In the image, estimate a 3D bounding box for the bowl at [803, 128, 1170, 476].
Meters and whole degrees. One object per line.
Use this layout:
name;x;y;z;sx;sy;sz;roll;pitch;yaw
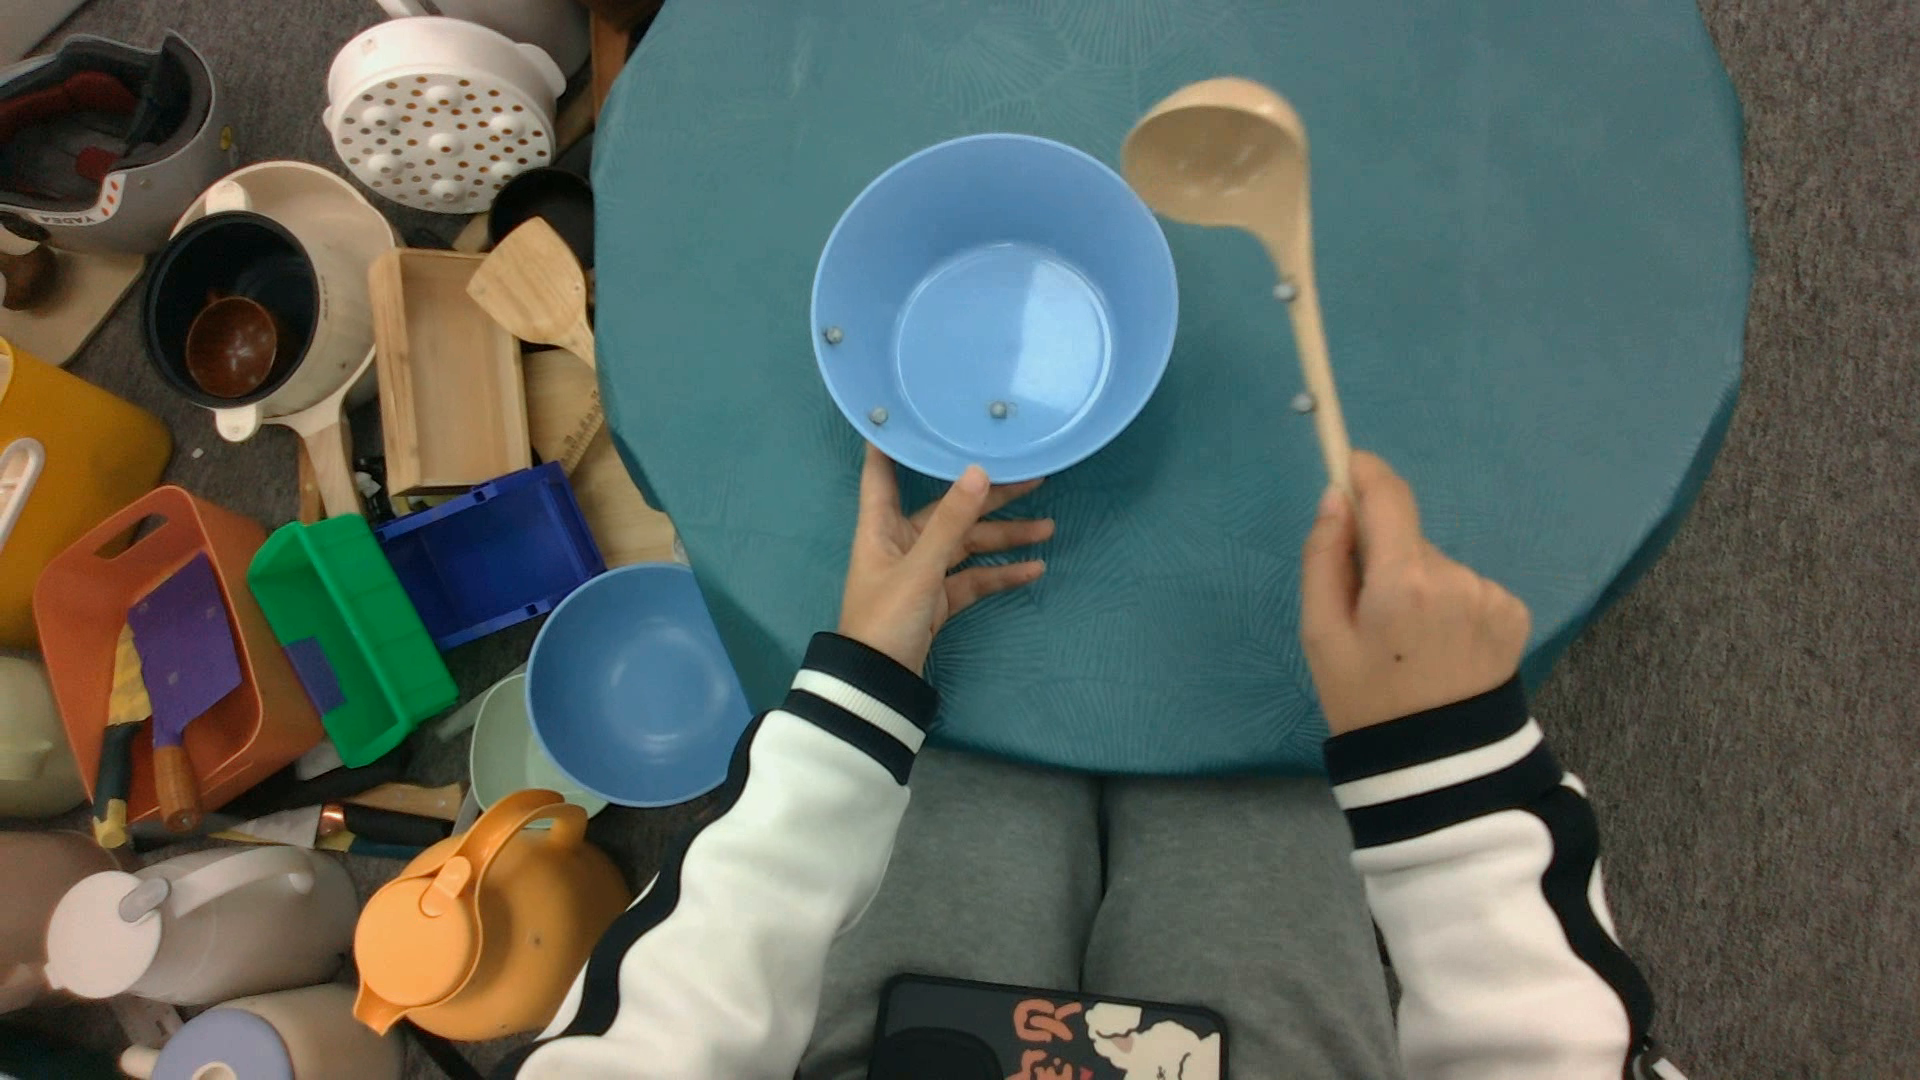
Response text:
bowl;0.015;-0.109;0.683;0.176;0.070;0.176;-2;77;7

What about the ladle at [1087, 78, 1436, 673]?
ladle;0.117;-0.063;0.546;0.073;0.072;0.255;-7;74;-34
